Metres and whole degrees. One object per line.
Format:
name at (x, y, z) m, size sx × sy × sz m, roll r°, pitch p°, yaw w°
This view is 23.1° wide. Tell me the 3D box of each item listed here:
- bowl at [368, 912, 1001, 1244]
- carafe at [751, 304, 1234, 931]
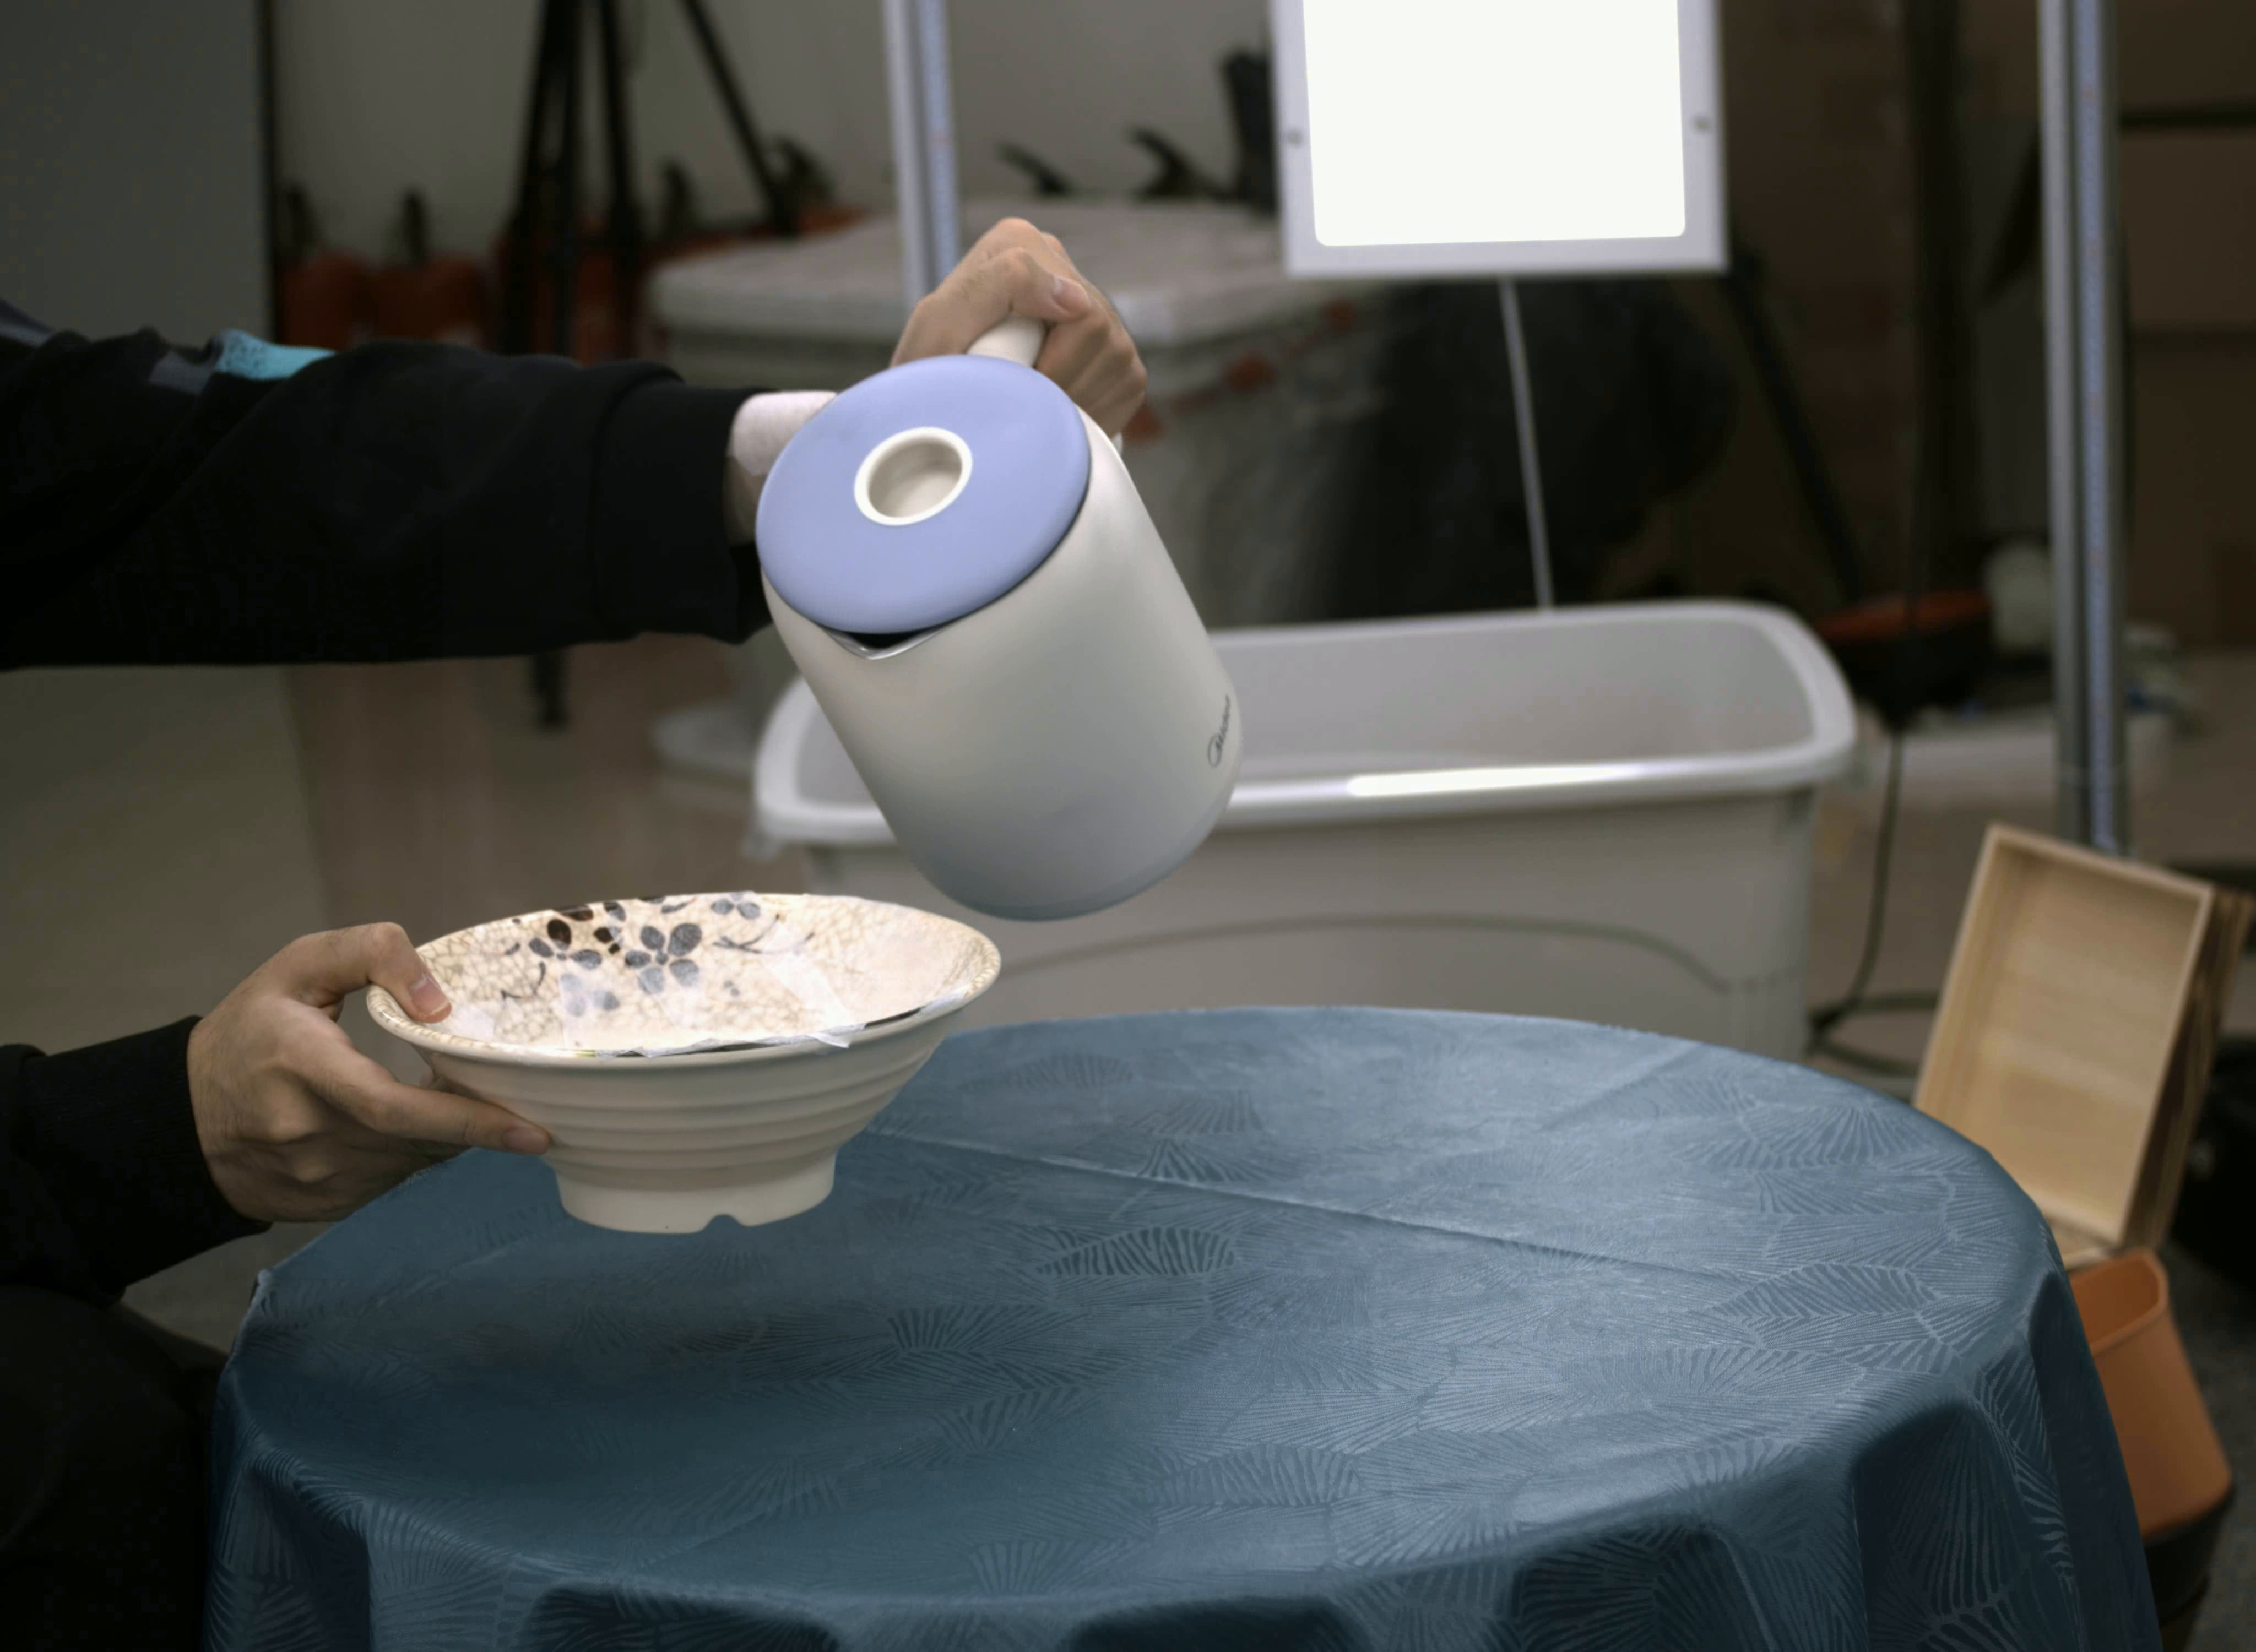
bowl at (-0.138, 0.086, 1.767) m, size 0.203 × 0.078 × 0.204 m, roll -6°, pitch 10°, yaw 0°
carafe at (-0.041, -0.082, 1.909) m, size 0.134 × 0.181 × 0.189 m, roll -2°, pitch 51°, yaw 21°
